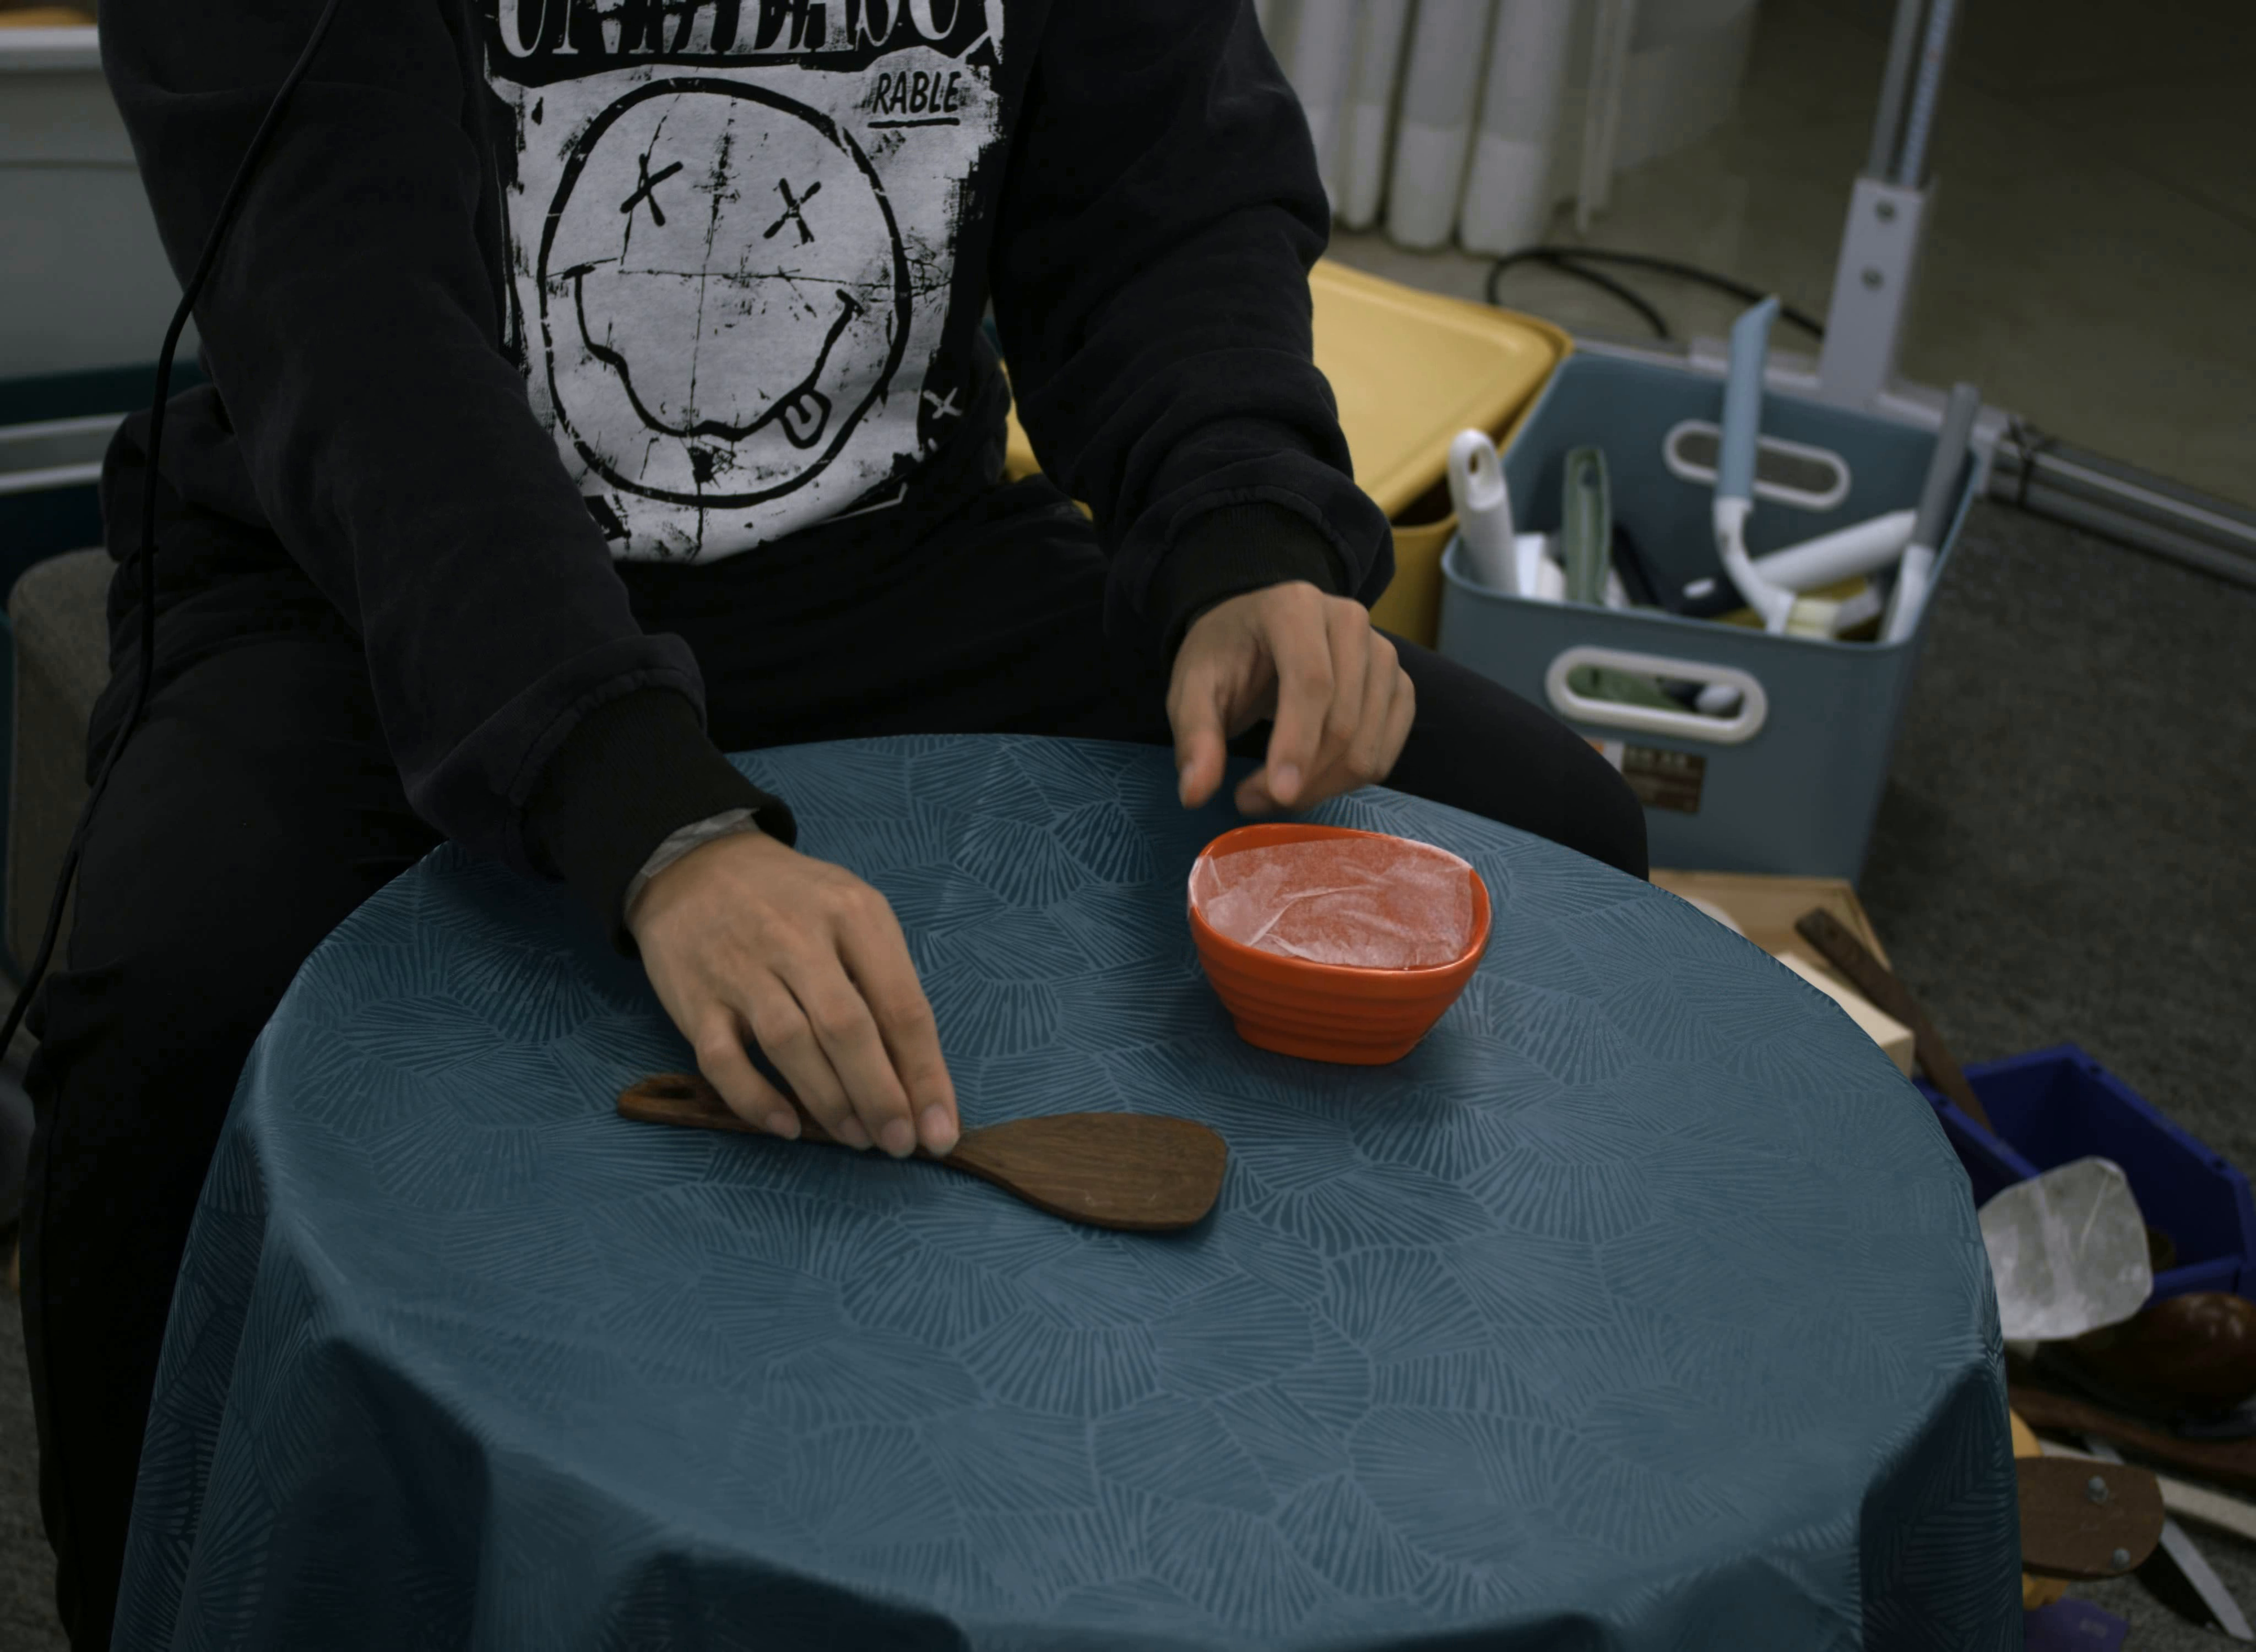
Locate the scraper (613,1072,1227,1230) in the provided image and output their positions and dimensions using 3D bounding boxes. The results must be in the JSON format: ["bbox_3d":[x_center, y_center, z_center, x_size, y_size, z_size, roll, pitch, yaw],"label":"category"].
[{"bbox_3d":[-0.071,0.106,1.811,0.211,0.011,0.076,8,25,5],"label":"scraper"}]

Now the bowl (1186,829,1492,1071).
[{"bbox_3d":[0.073,0.049,1.913,0.118,0.051,0.119,4,28,-3],"label":"bowl"}]
